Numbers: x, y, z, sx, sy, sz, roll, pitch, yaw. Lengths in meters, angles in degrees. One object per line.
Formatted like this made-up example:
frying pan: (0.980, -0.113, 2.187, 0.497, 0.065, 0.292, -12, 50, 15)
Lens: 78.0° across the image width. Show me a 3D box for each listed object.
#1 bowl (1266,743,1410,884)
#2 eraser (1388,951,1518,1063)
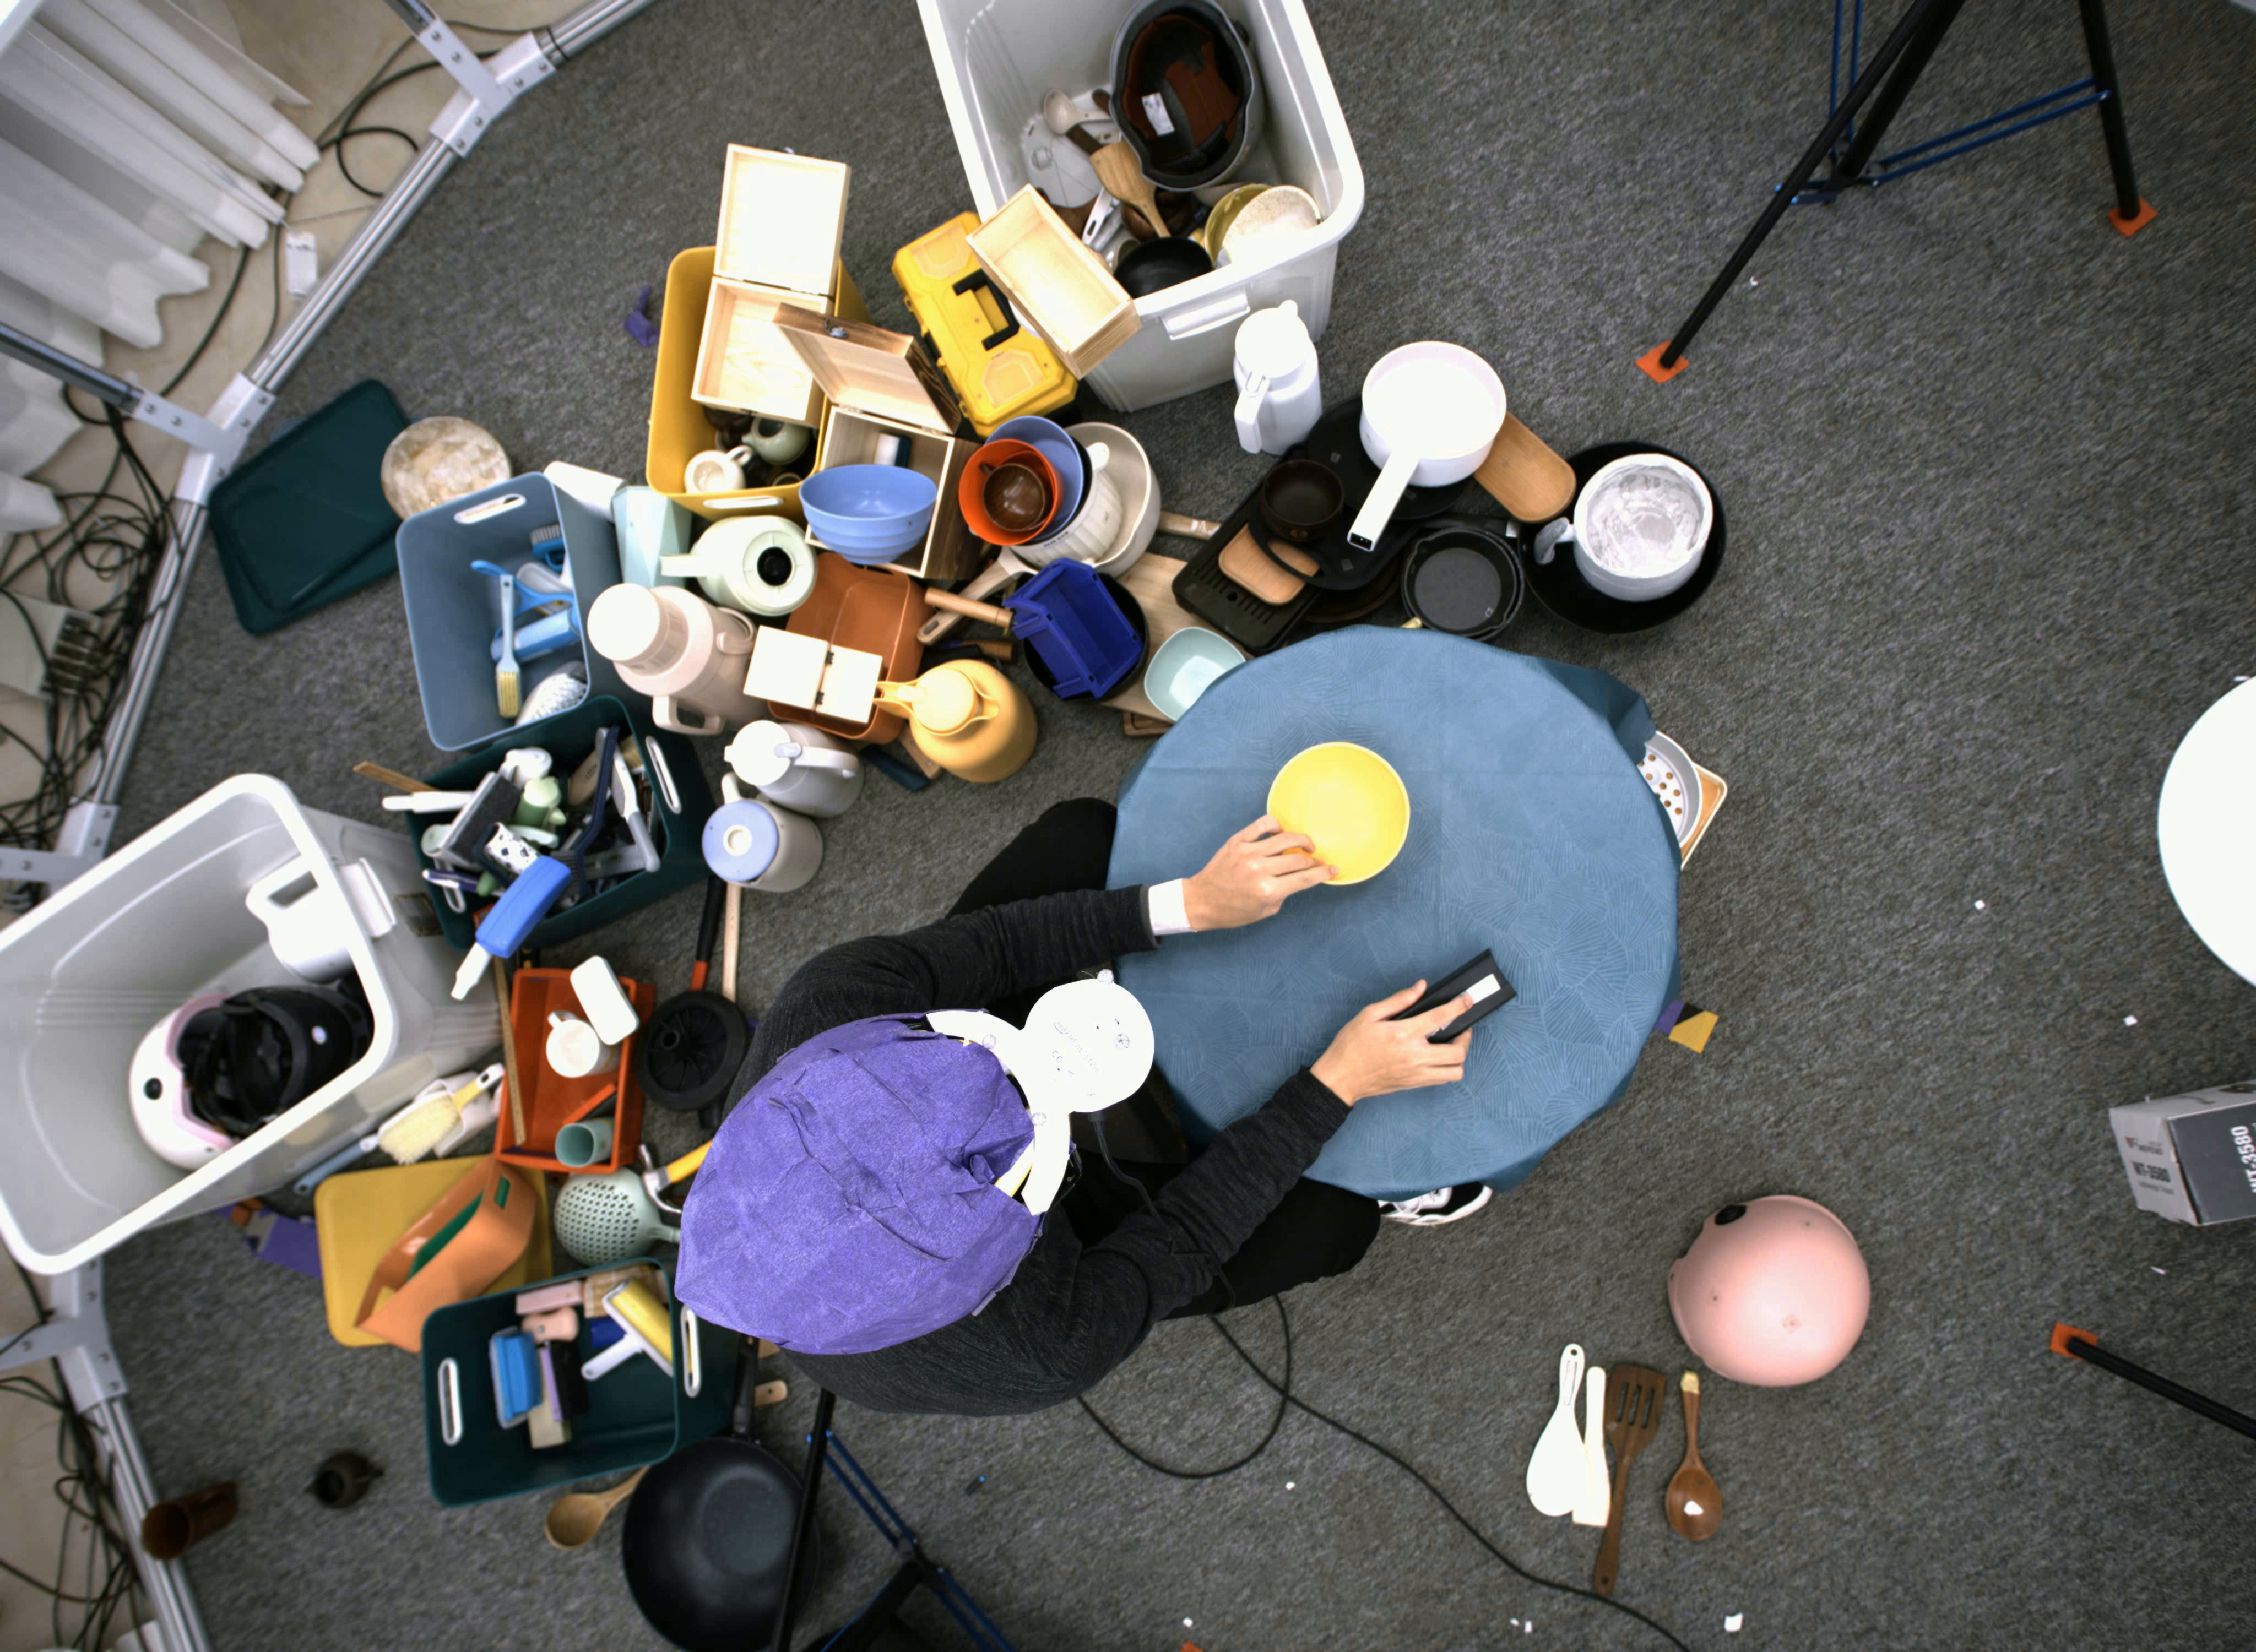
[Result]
bowl: (0.215, -0.012, 1.424, 0.146, 0.060, 0.145, 0, 89, 6)
eraser: (0.328, 0.180, 1.395, 0.126, 0.030, 0.053, -37, 87, 8)
